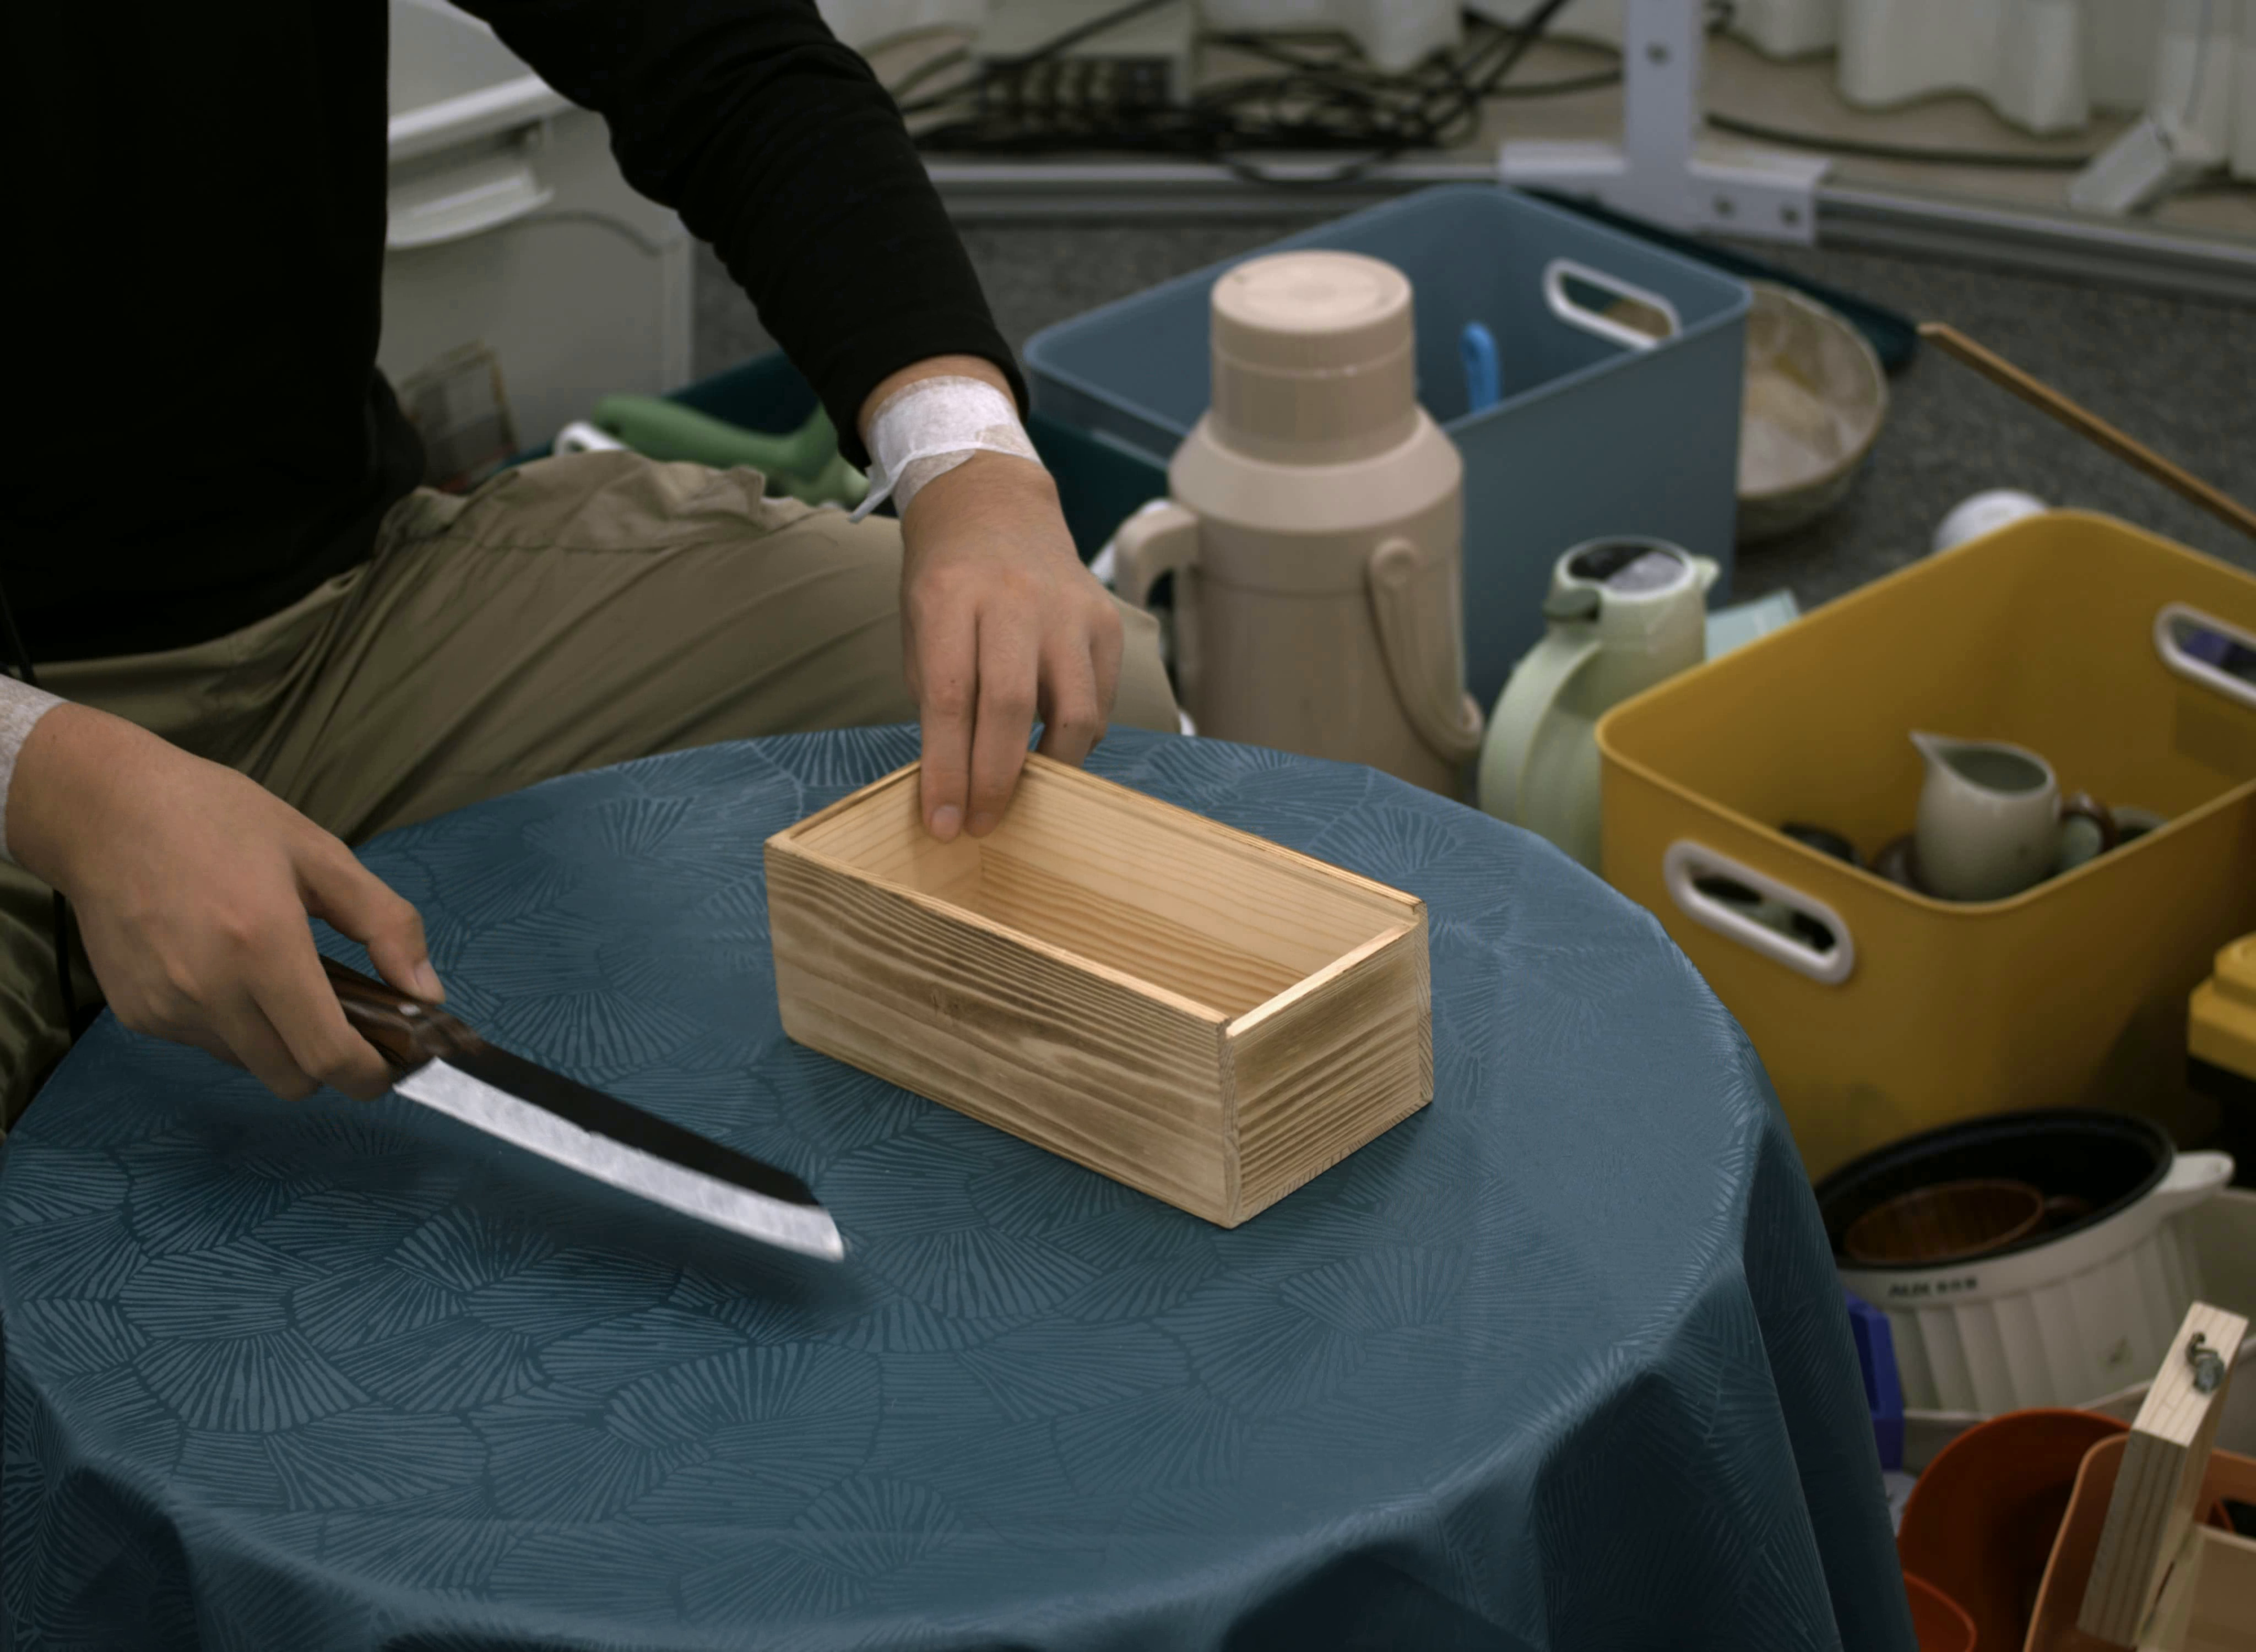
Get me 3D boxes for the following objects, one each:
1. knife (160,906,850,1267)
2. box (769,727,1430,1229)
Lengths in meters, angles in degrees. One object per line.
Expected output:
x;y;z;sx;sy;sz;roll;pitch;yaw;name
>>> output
-0.209;0.088;1.857;0.288;0.020;0.051;23;33;25;knife
-0.011;0.048;1.918;0.211;0.079;0.109;21;35;38;box
